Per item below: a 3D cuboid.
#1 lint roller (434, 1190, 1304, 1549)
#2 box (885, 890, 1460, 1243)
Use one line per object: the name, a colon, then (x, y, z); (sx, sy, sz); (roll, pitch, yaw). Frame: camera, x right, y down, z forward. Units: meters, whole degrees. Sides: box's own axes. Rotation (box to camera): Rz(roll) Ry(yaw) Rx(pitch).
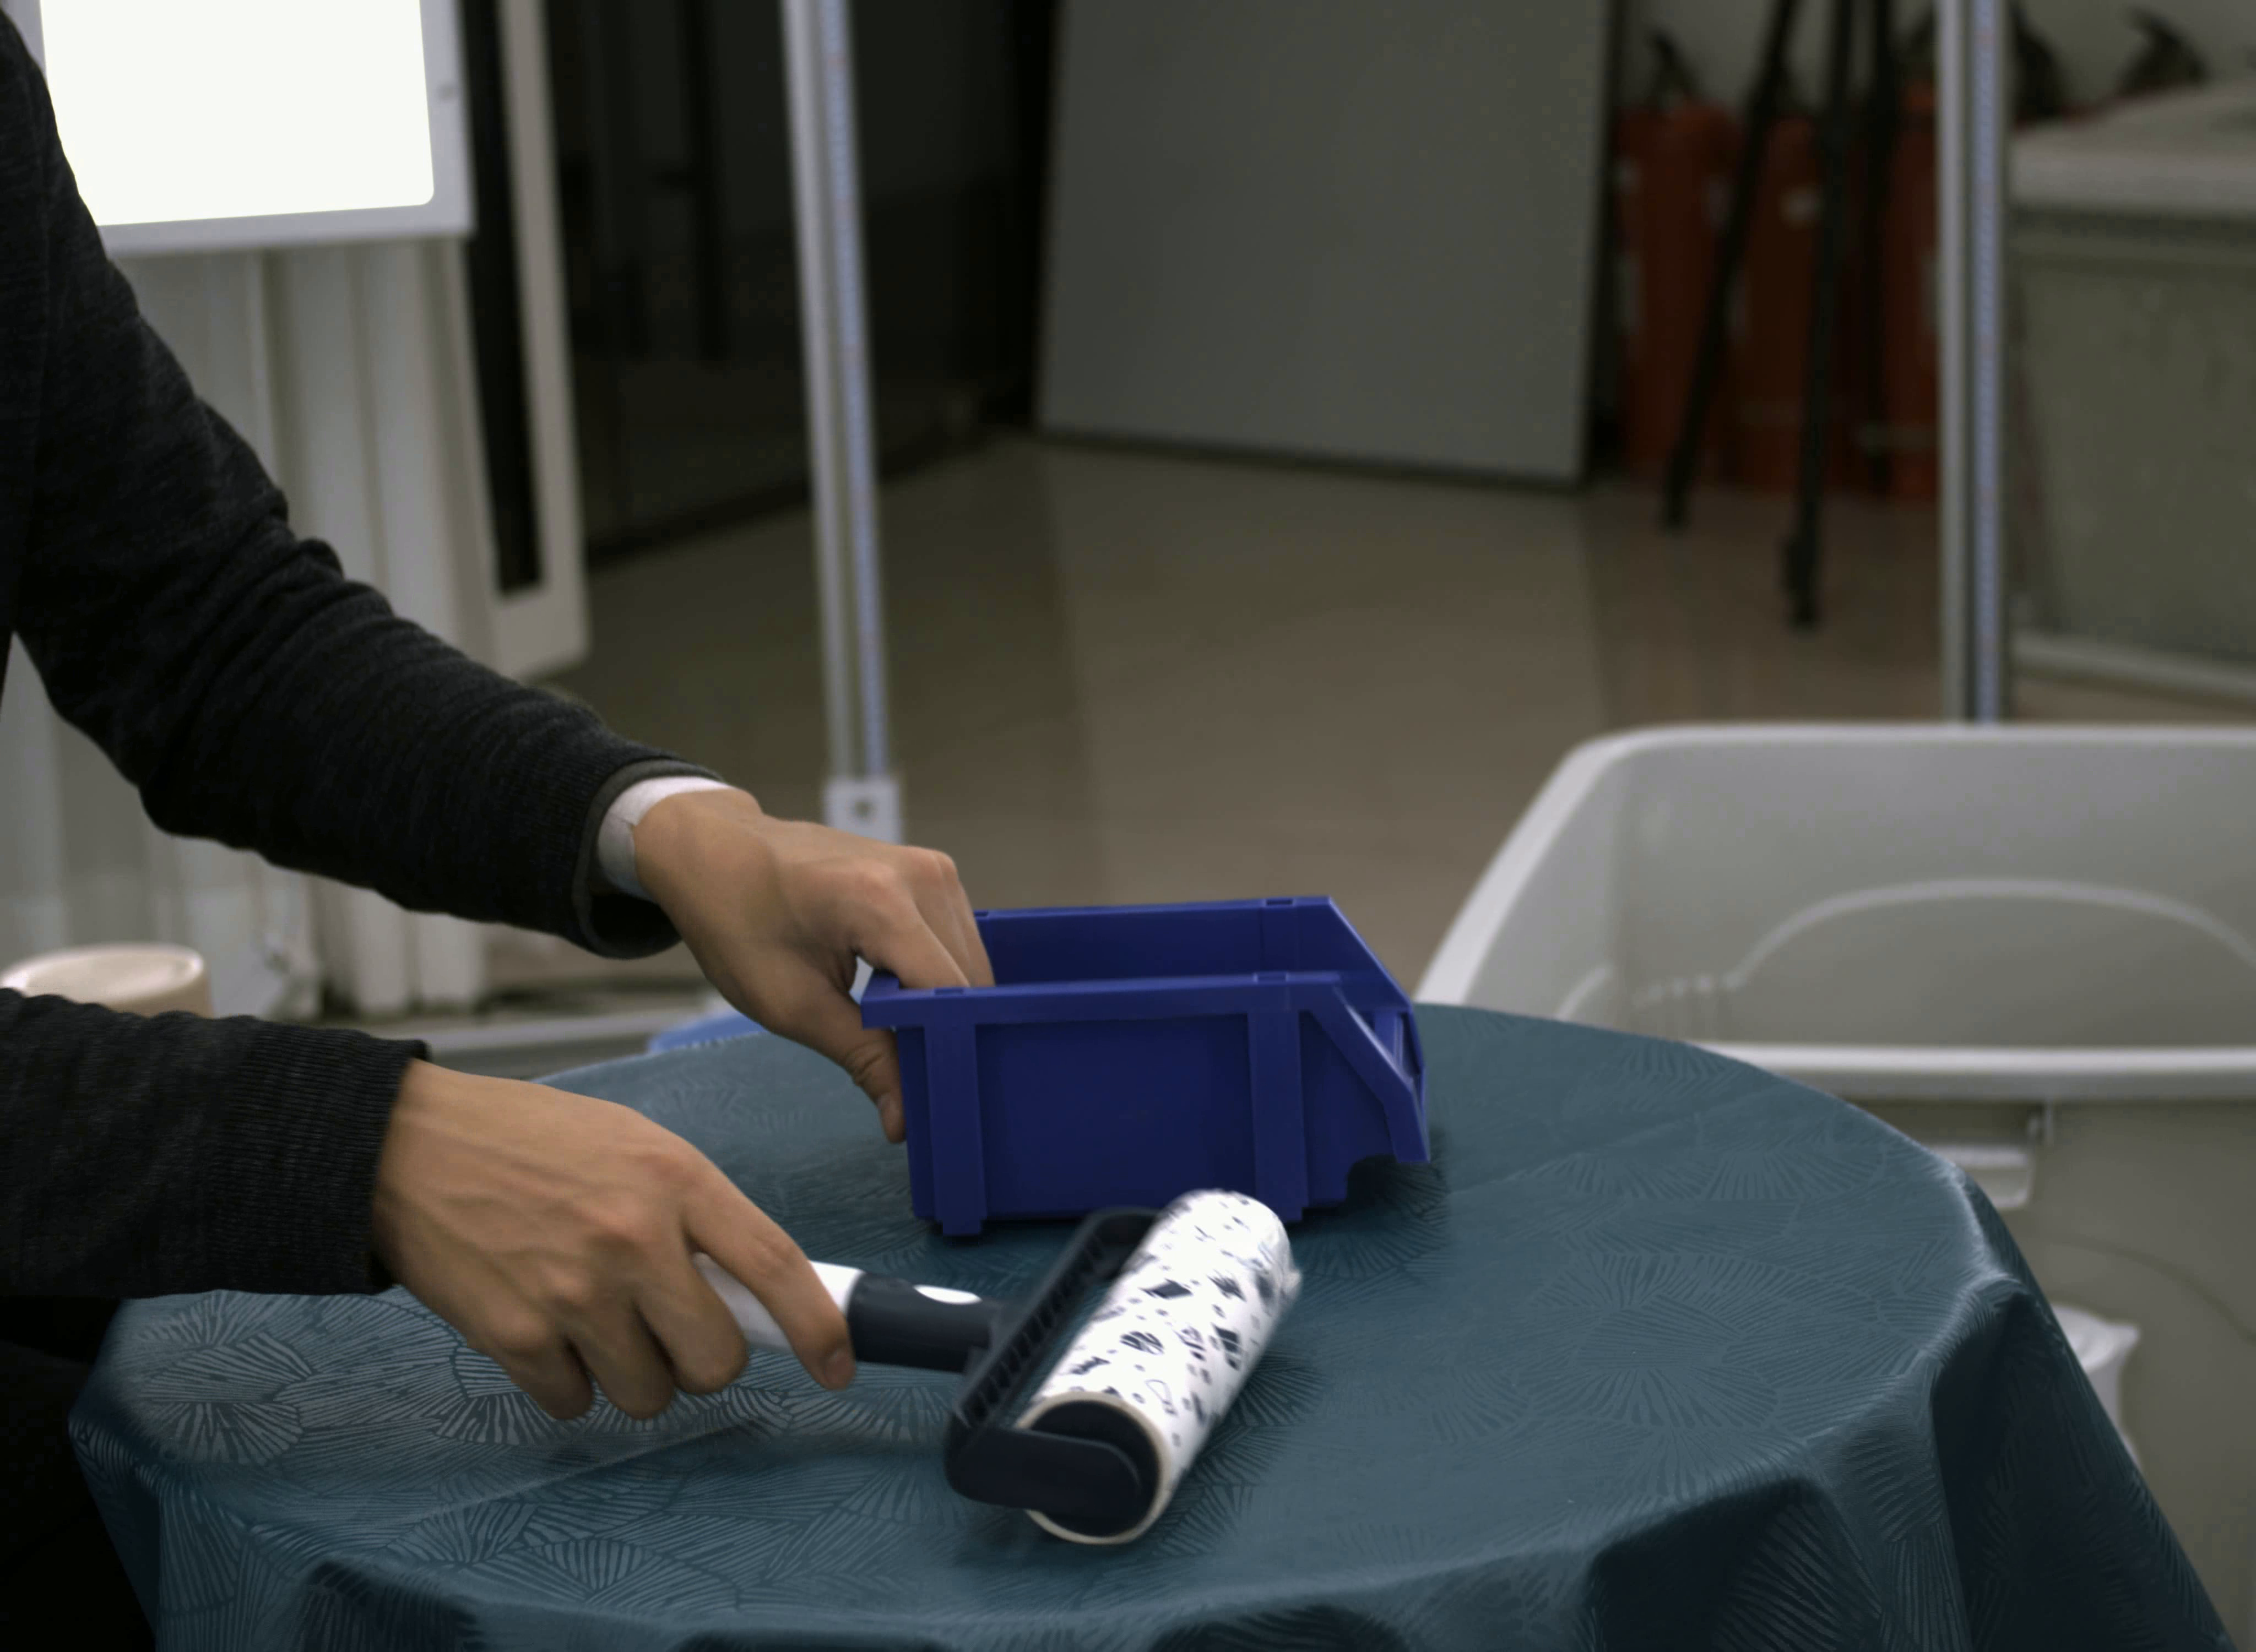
lint roller: (-0.084, 0.140, 1.557); (0.246, 0.051, 0.175); (8, 18, 14)
box: (0.019, 0.076, 1.768); (0.178, 0.083, 0.124); (-5, 12, 6)
